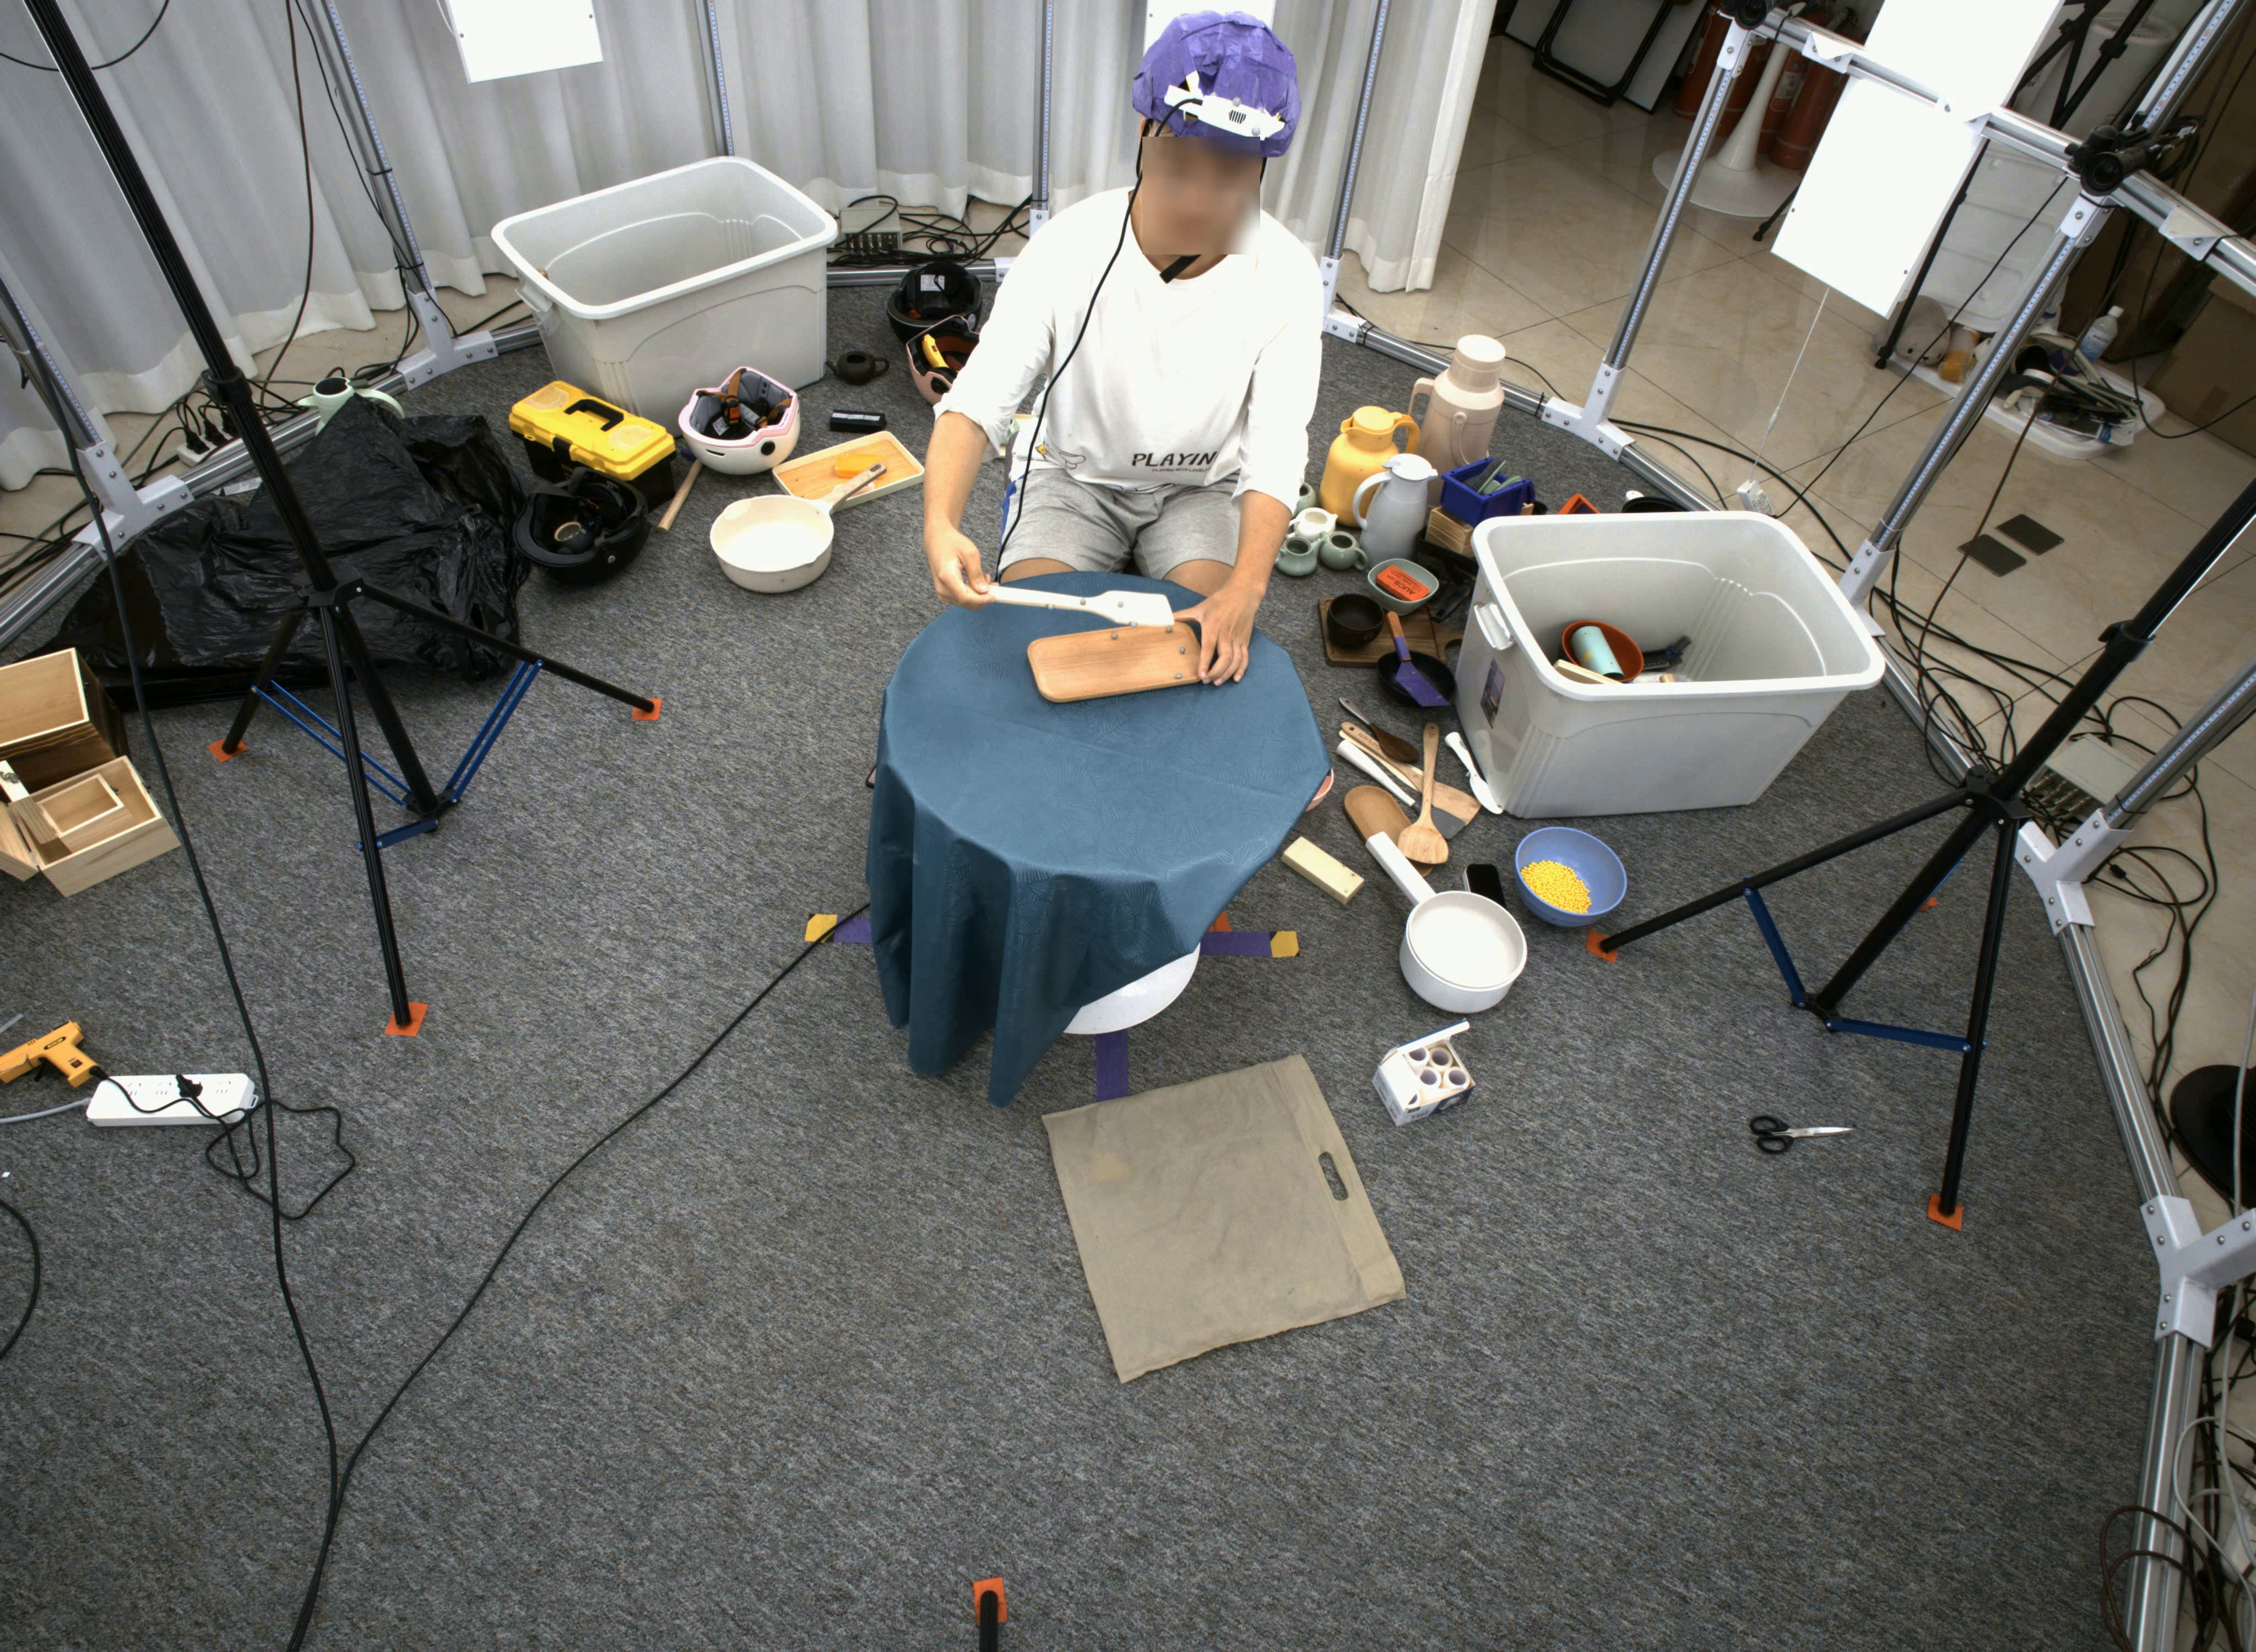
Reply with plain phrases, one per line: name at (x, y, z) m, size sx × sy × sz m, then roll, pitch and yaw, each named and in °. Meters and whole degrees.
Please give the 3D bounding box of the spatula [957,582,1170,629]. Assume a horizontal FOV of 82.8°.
spatula at (-0.085, -0.303, 1.740) m, size 0.292 × 0.010 × 0.074 m, roll 3°, pitch 44°, yaw -17°

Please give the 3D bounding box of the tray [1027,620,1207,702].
tray at (-0.016, -0.239, 1.862) m, size 0.250 × 0.022 × 0.134 m, roll -9°, pitch 48°, yaw -11°
